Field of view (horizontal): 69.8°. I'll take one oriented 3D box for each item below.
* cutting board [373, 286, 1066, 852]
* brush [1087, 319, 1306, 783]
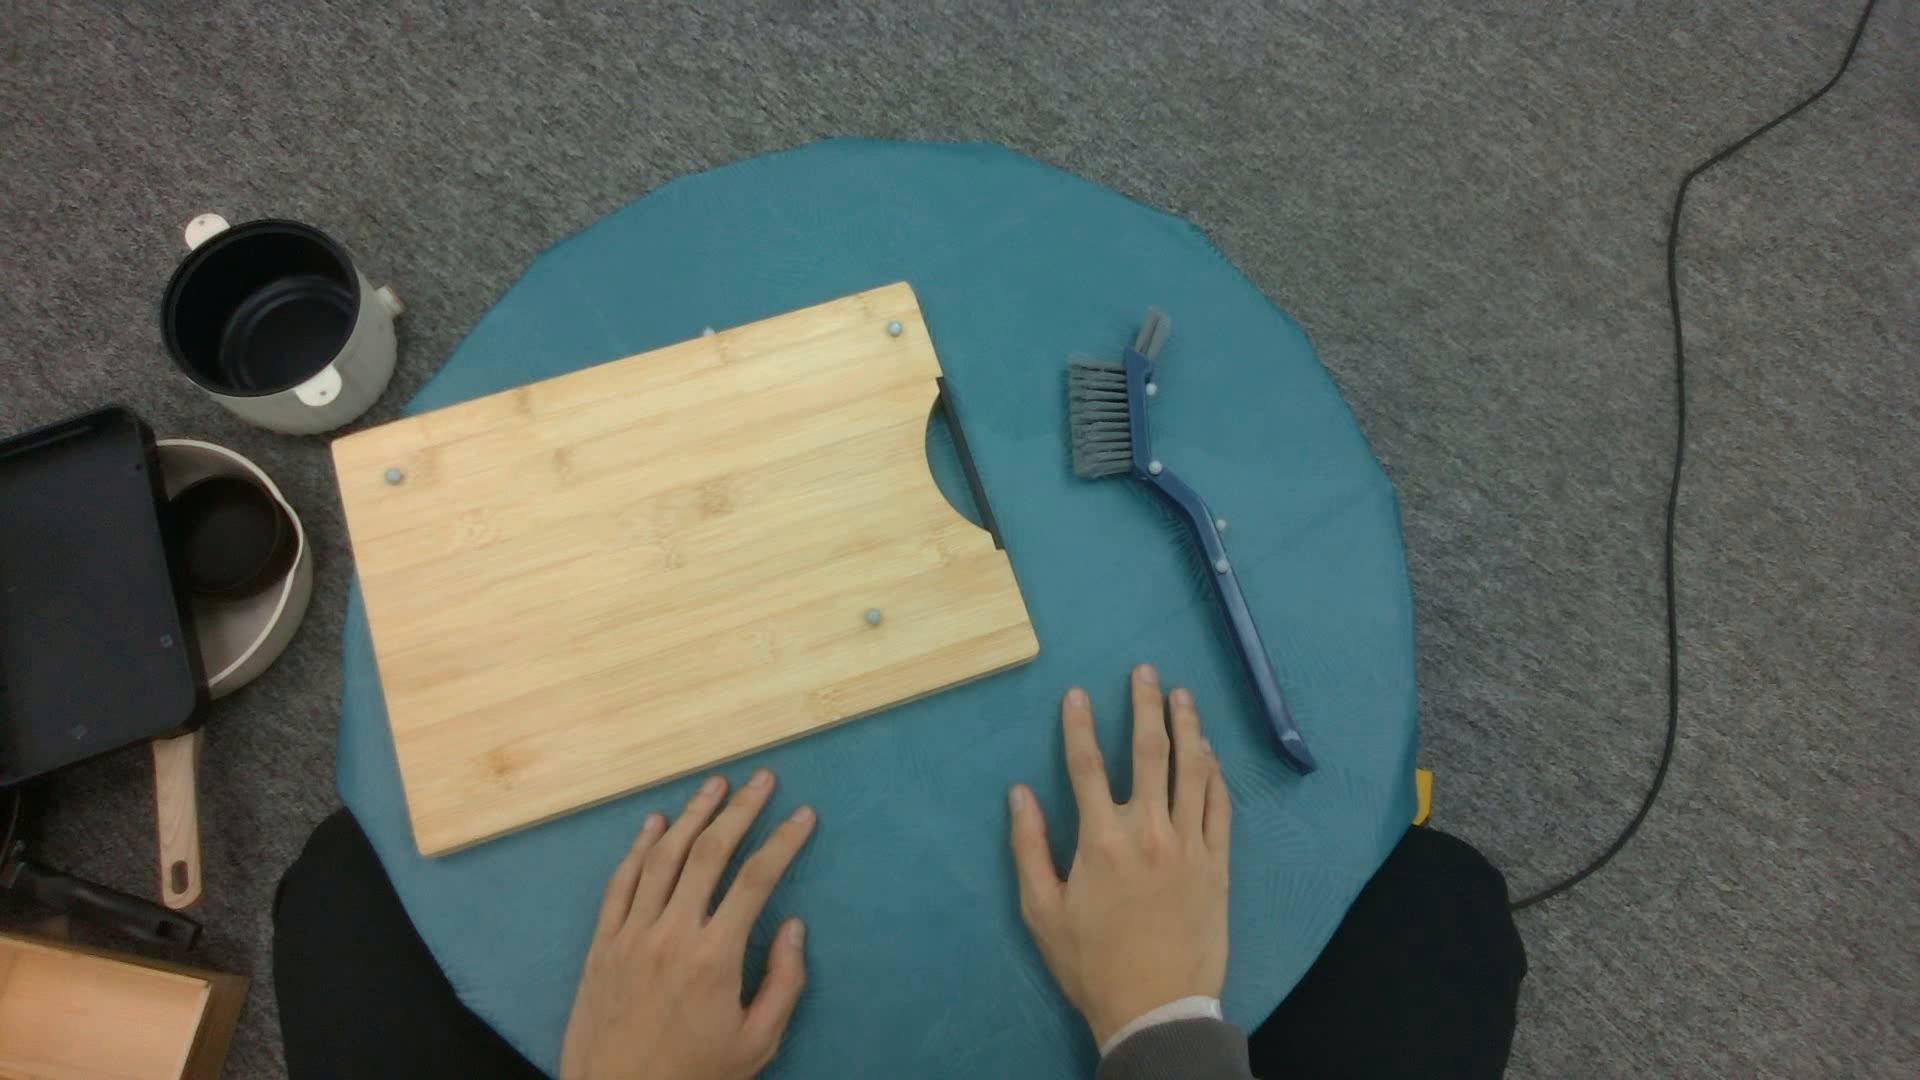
[{"bbox_3d":[-0.143,0.007,0.787,0.349,0.023,0.251,-18,74,-7],"label":"cutting board"},{"bbox_3d":[0.150,0.002,0.789,0.096,0.033,0.273,-25,73,-9],"label":"brush"}]
